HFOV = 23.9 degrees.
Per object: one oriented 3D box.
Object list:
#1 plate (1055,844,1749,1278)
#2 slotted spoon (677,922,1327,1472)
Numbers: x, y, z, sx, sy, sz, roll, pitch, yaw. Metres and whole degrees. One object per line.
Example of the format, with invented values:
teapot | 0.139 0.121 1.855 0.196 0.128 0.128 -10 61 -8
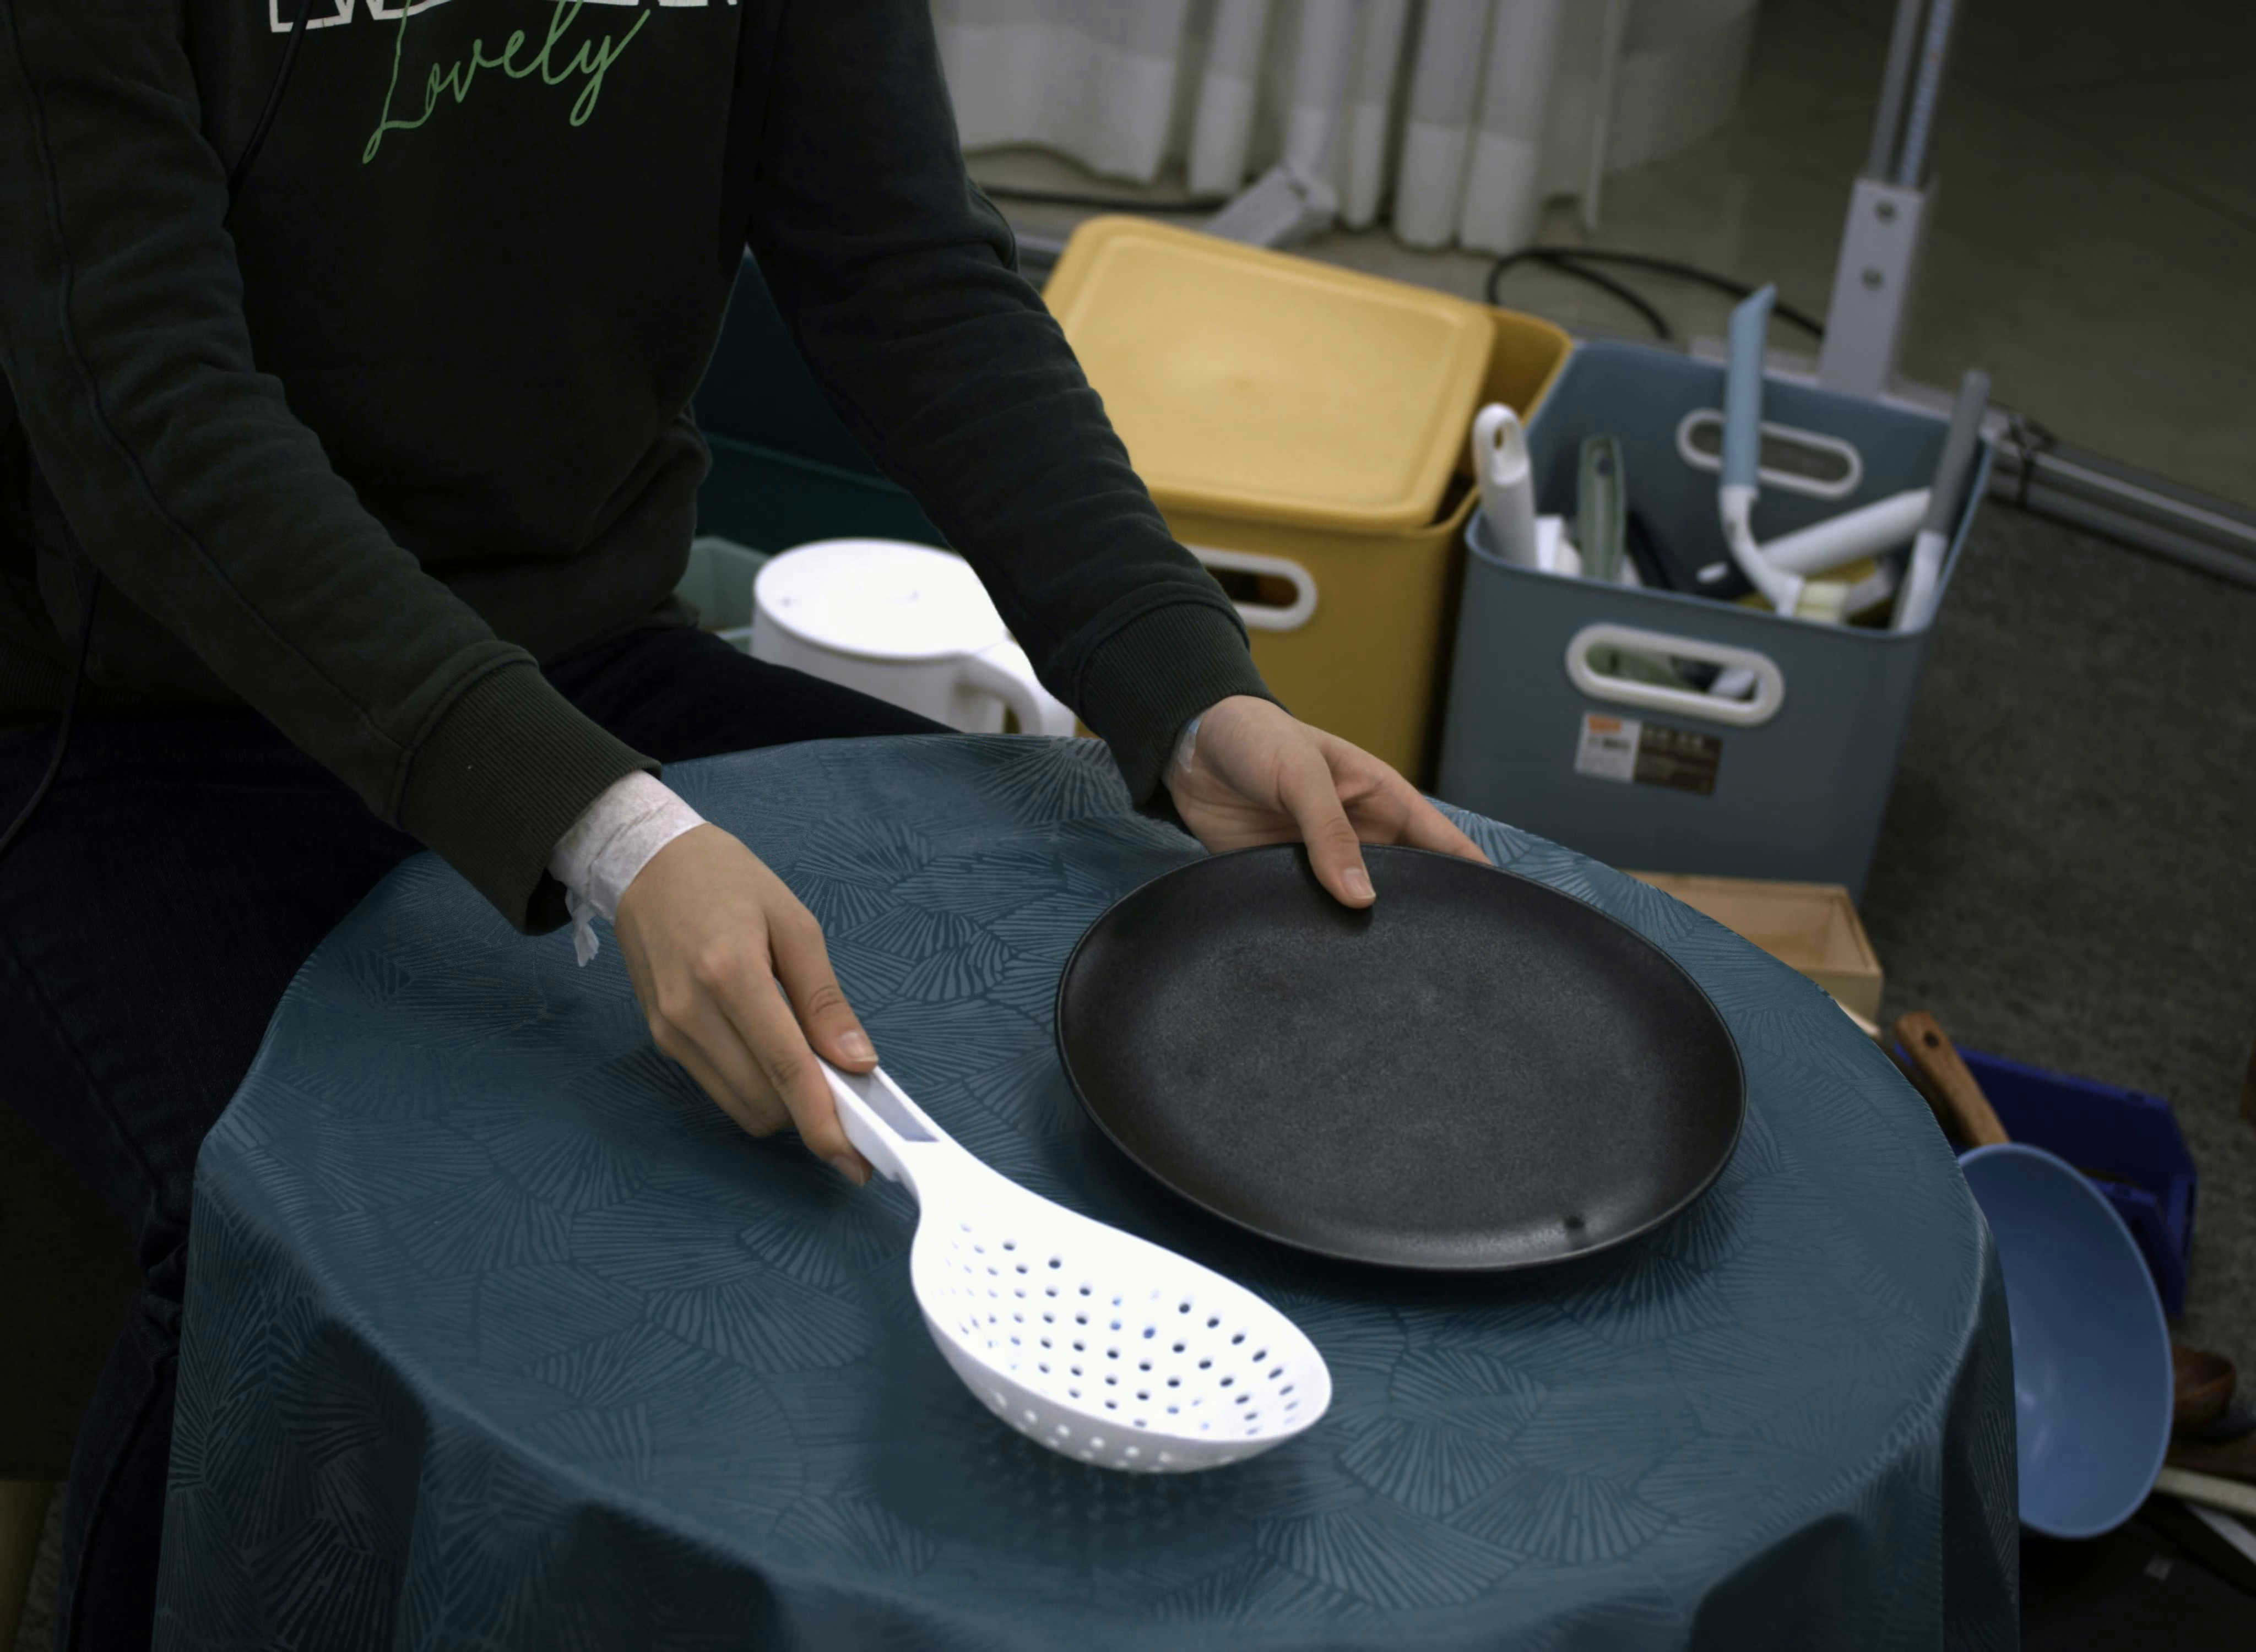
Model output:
plate | 0.094 0.084 1.848 0.243 0.023 0.246 5 34 -4
slotted spoon | -0.060 0.115 1.730 0.135 0.045 0.353 4 28 -36
